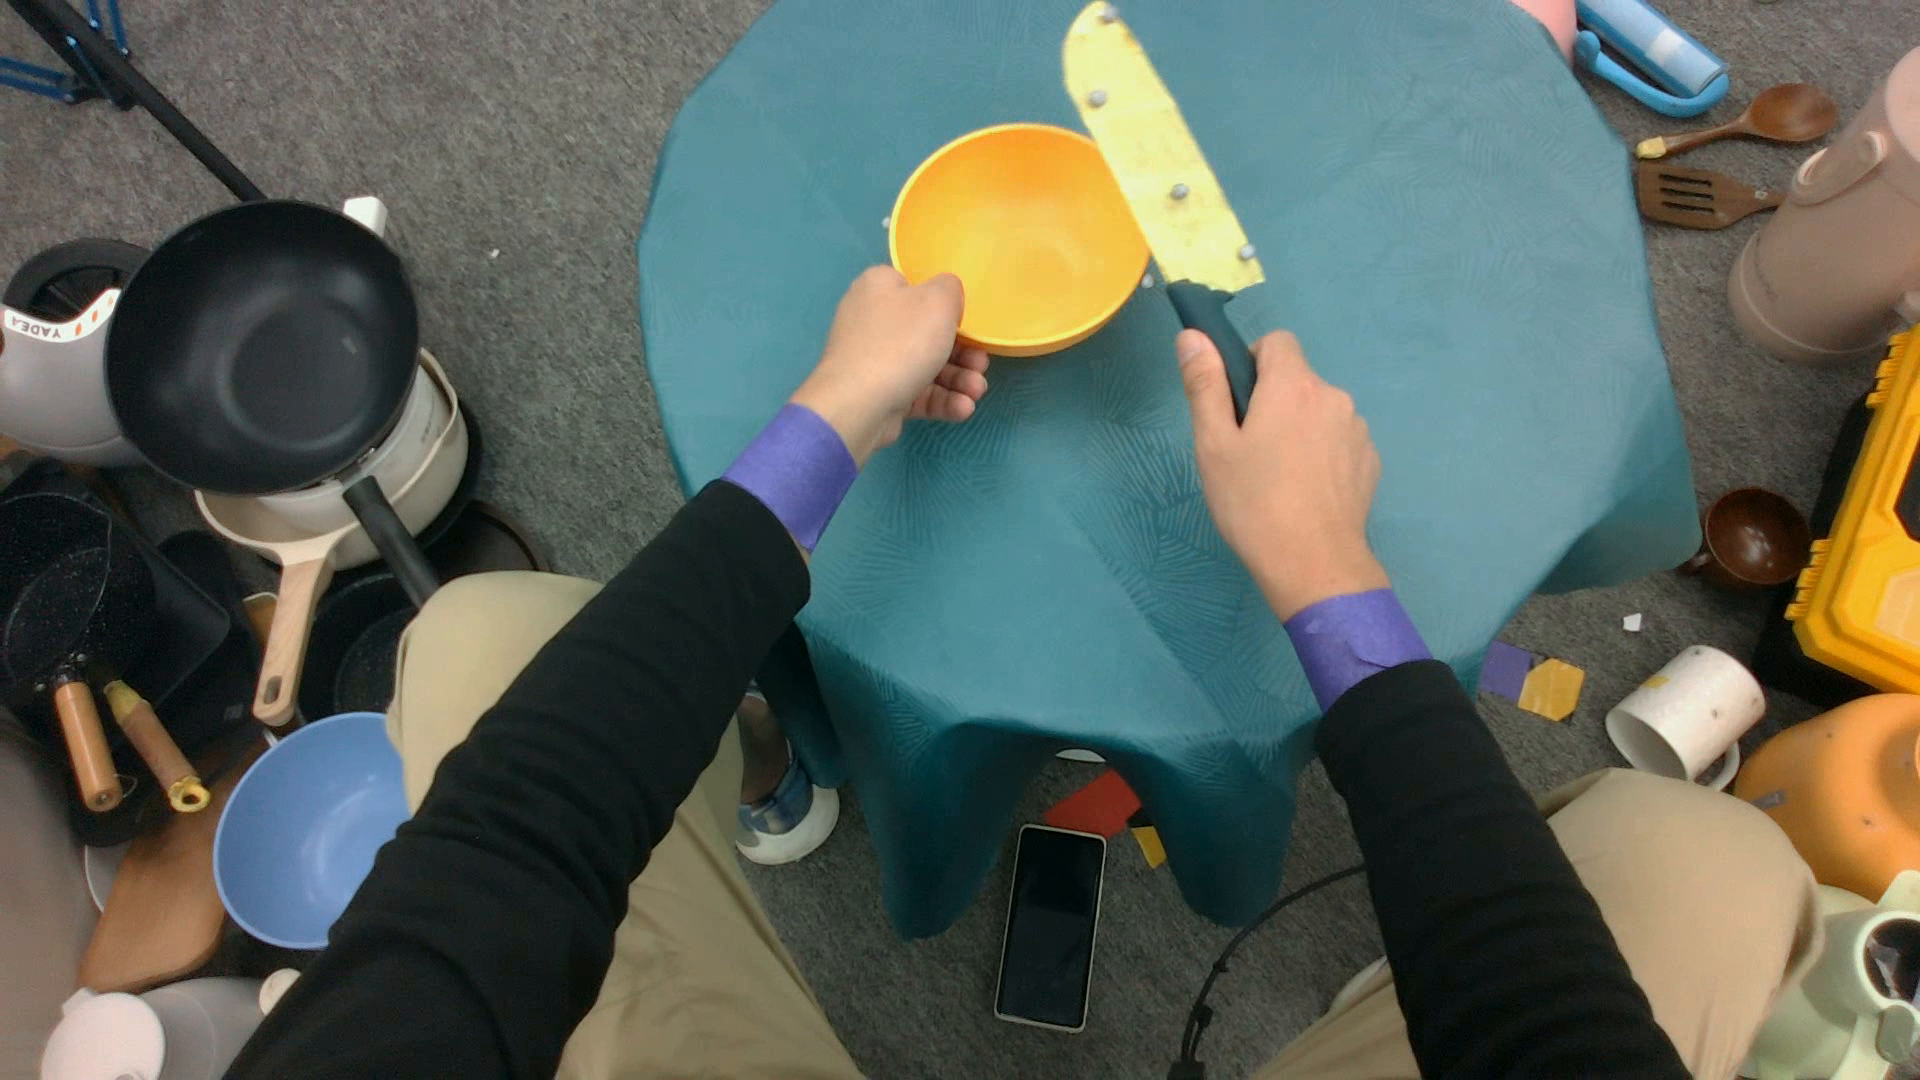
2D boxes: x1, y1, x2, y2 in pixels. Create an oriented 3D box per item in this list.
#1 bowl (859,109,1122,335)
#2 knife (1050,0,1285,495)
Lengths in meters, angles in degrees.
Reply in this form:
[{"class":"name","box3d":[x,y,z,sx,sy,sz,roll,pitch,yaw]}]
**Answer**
[{"class":"bowl","box3d":[0.018,-0.169,0.783,0.145,0.060,0.146,-1,66,3]},{"class":"knife","box3d":[0.115,-0.161,0.724,0.081,0.027,0.289,-17,84,-33]}]
